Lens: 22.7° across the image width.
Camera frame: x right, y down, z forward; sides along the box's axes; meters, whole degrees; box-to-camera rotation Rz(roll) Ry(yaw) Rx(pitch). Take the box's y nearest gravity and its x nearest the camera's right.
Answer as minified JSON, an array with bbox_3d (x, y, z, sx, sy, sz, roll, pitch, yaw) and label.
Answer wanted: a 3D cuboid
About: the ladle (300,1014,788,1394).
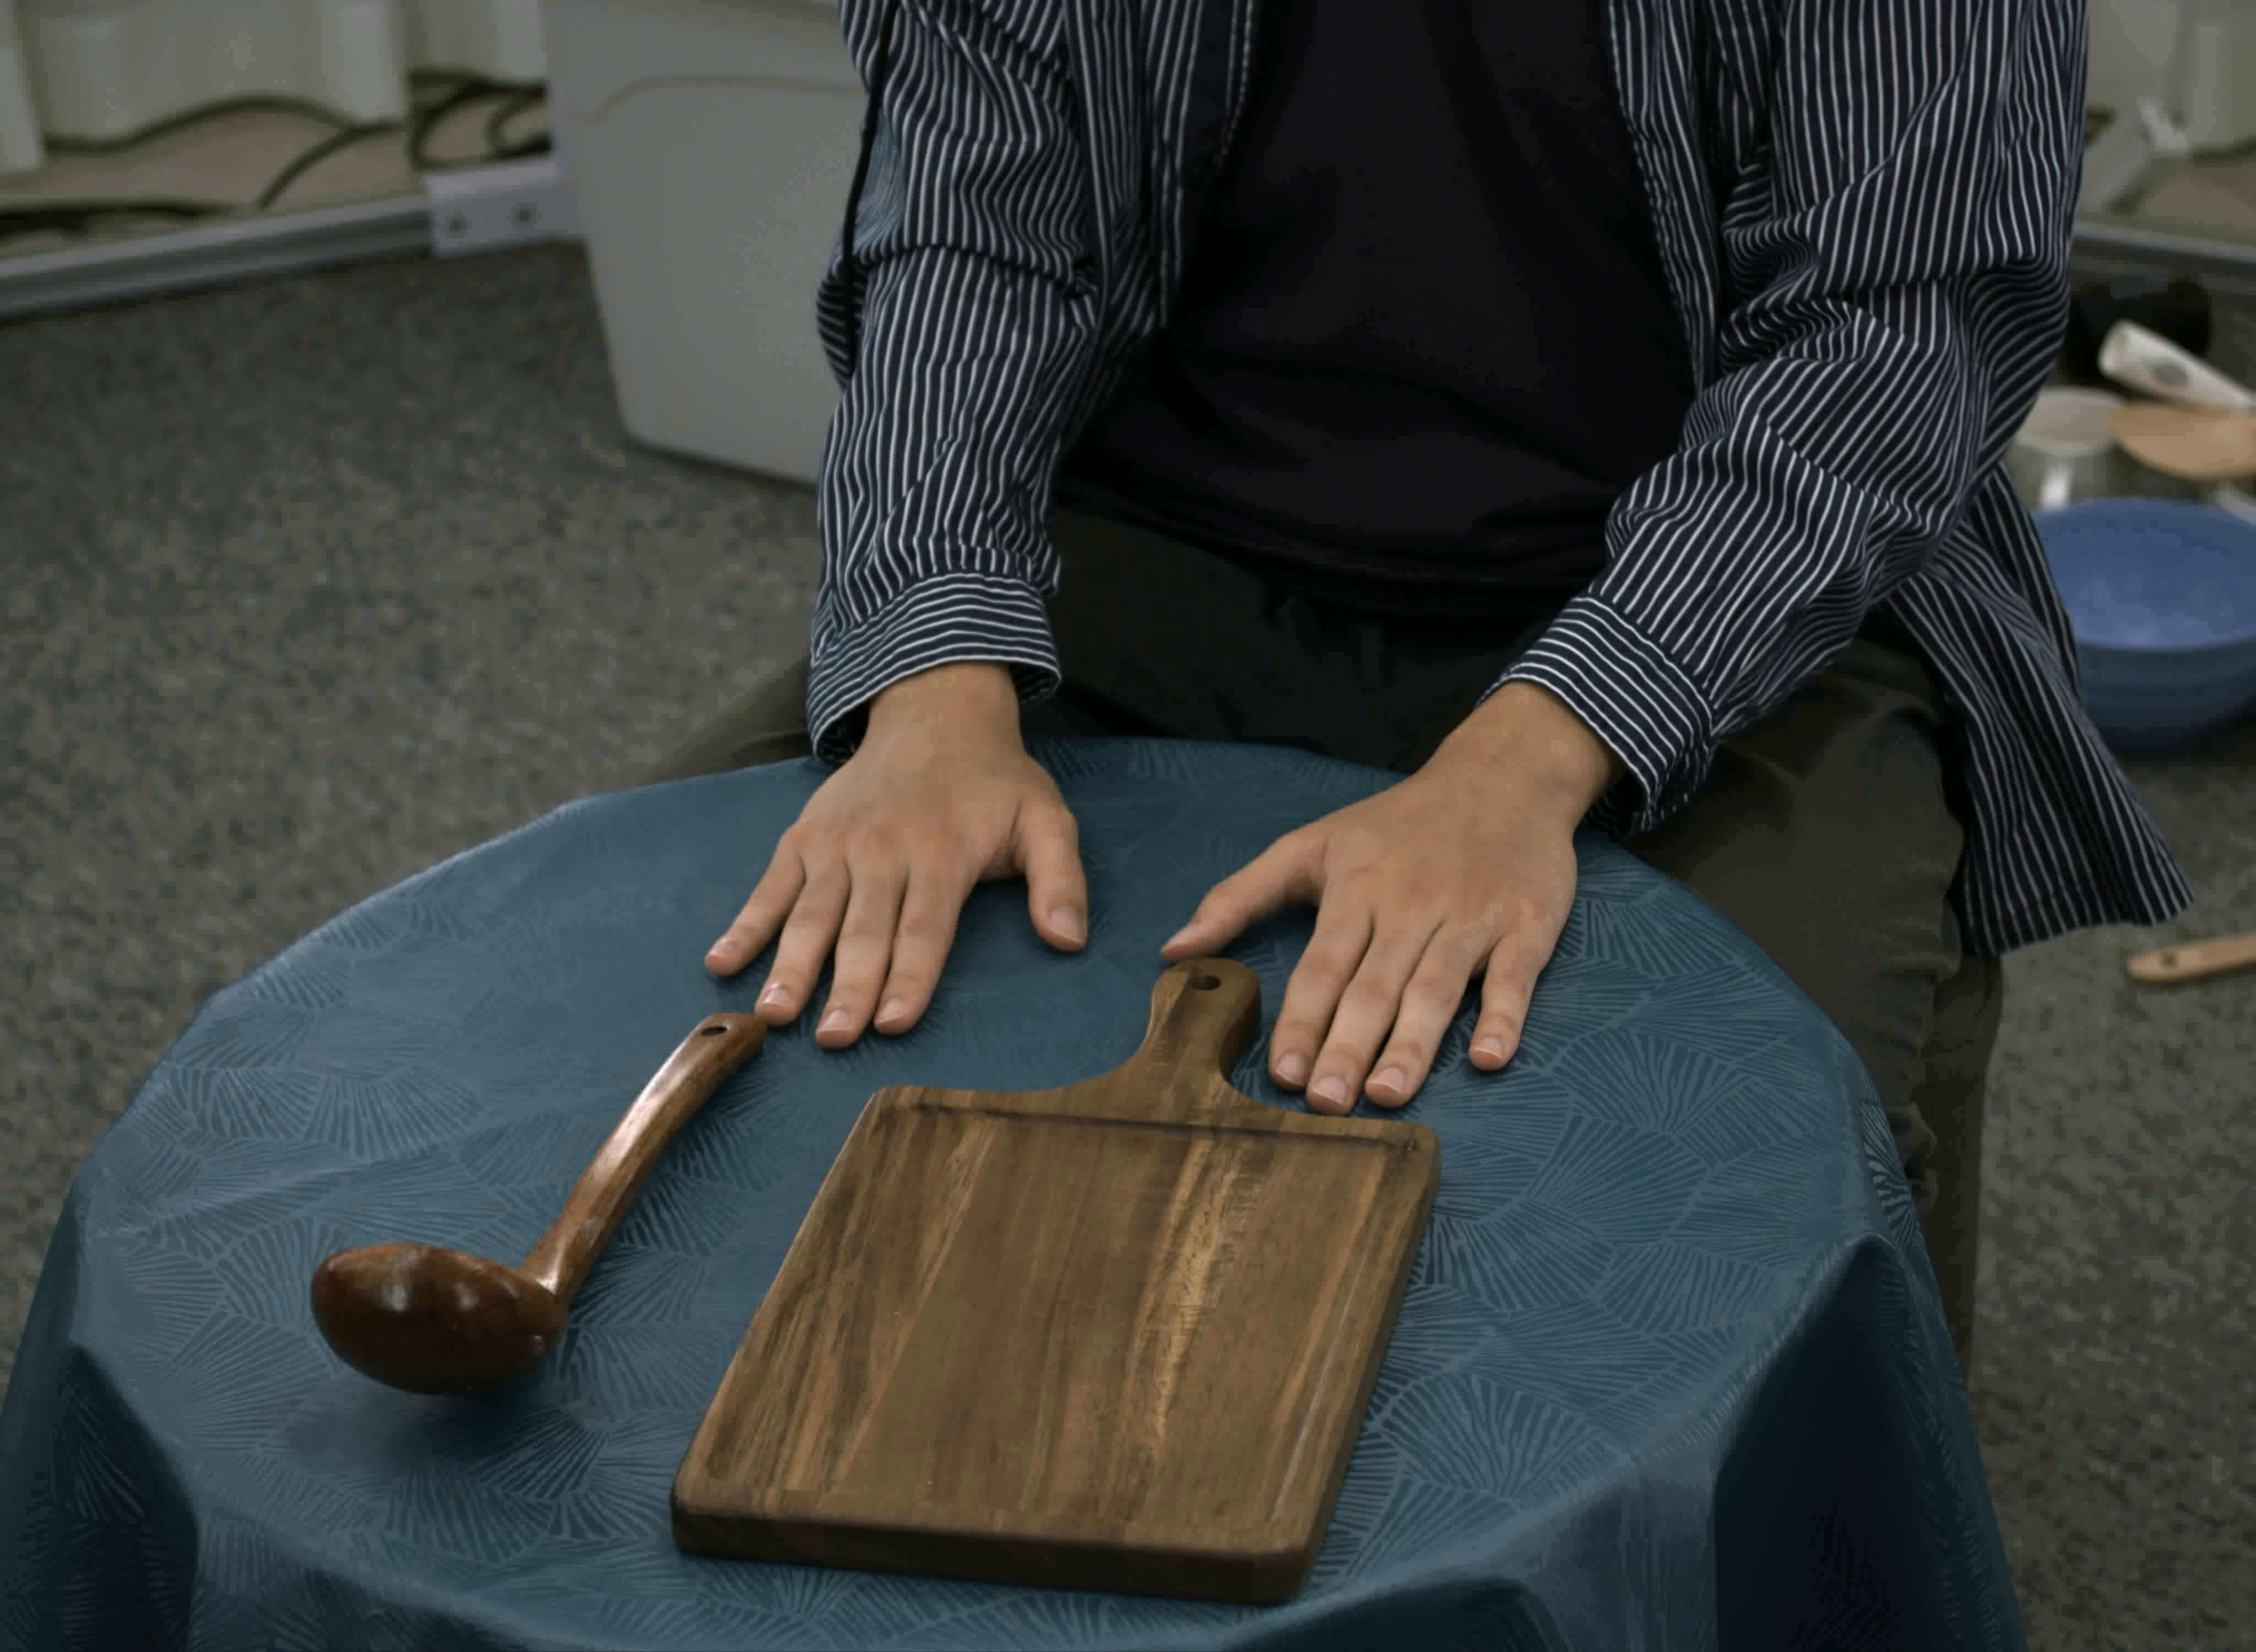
[{"bbox_3d":[-0.181,0.103,1.828,0.081,0.076,0.279,3,28,20],"label":"ladle"}]

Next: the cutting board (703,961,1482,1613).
[{"bbox_3d":[0.006,0.137,1.804,0.199,0.023,0.358,4,28,13],"label":"cutting board"}]
